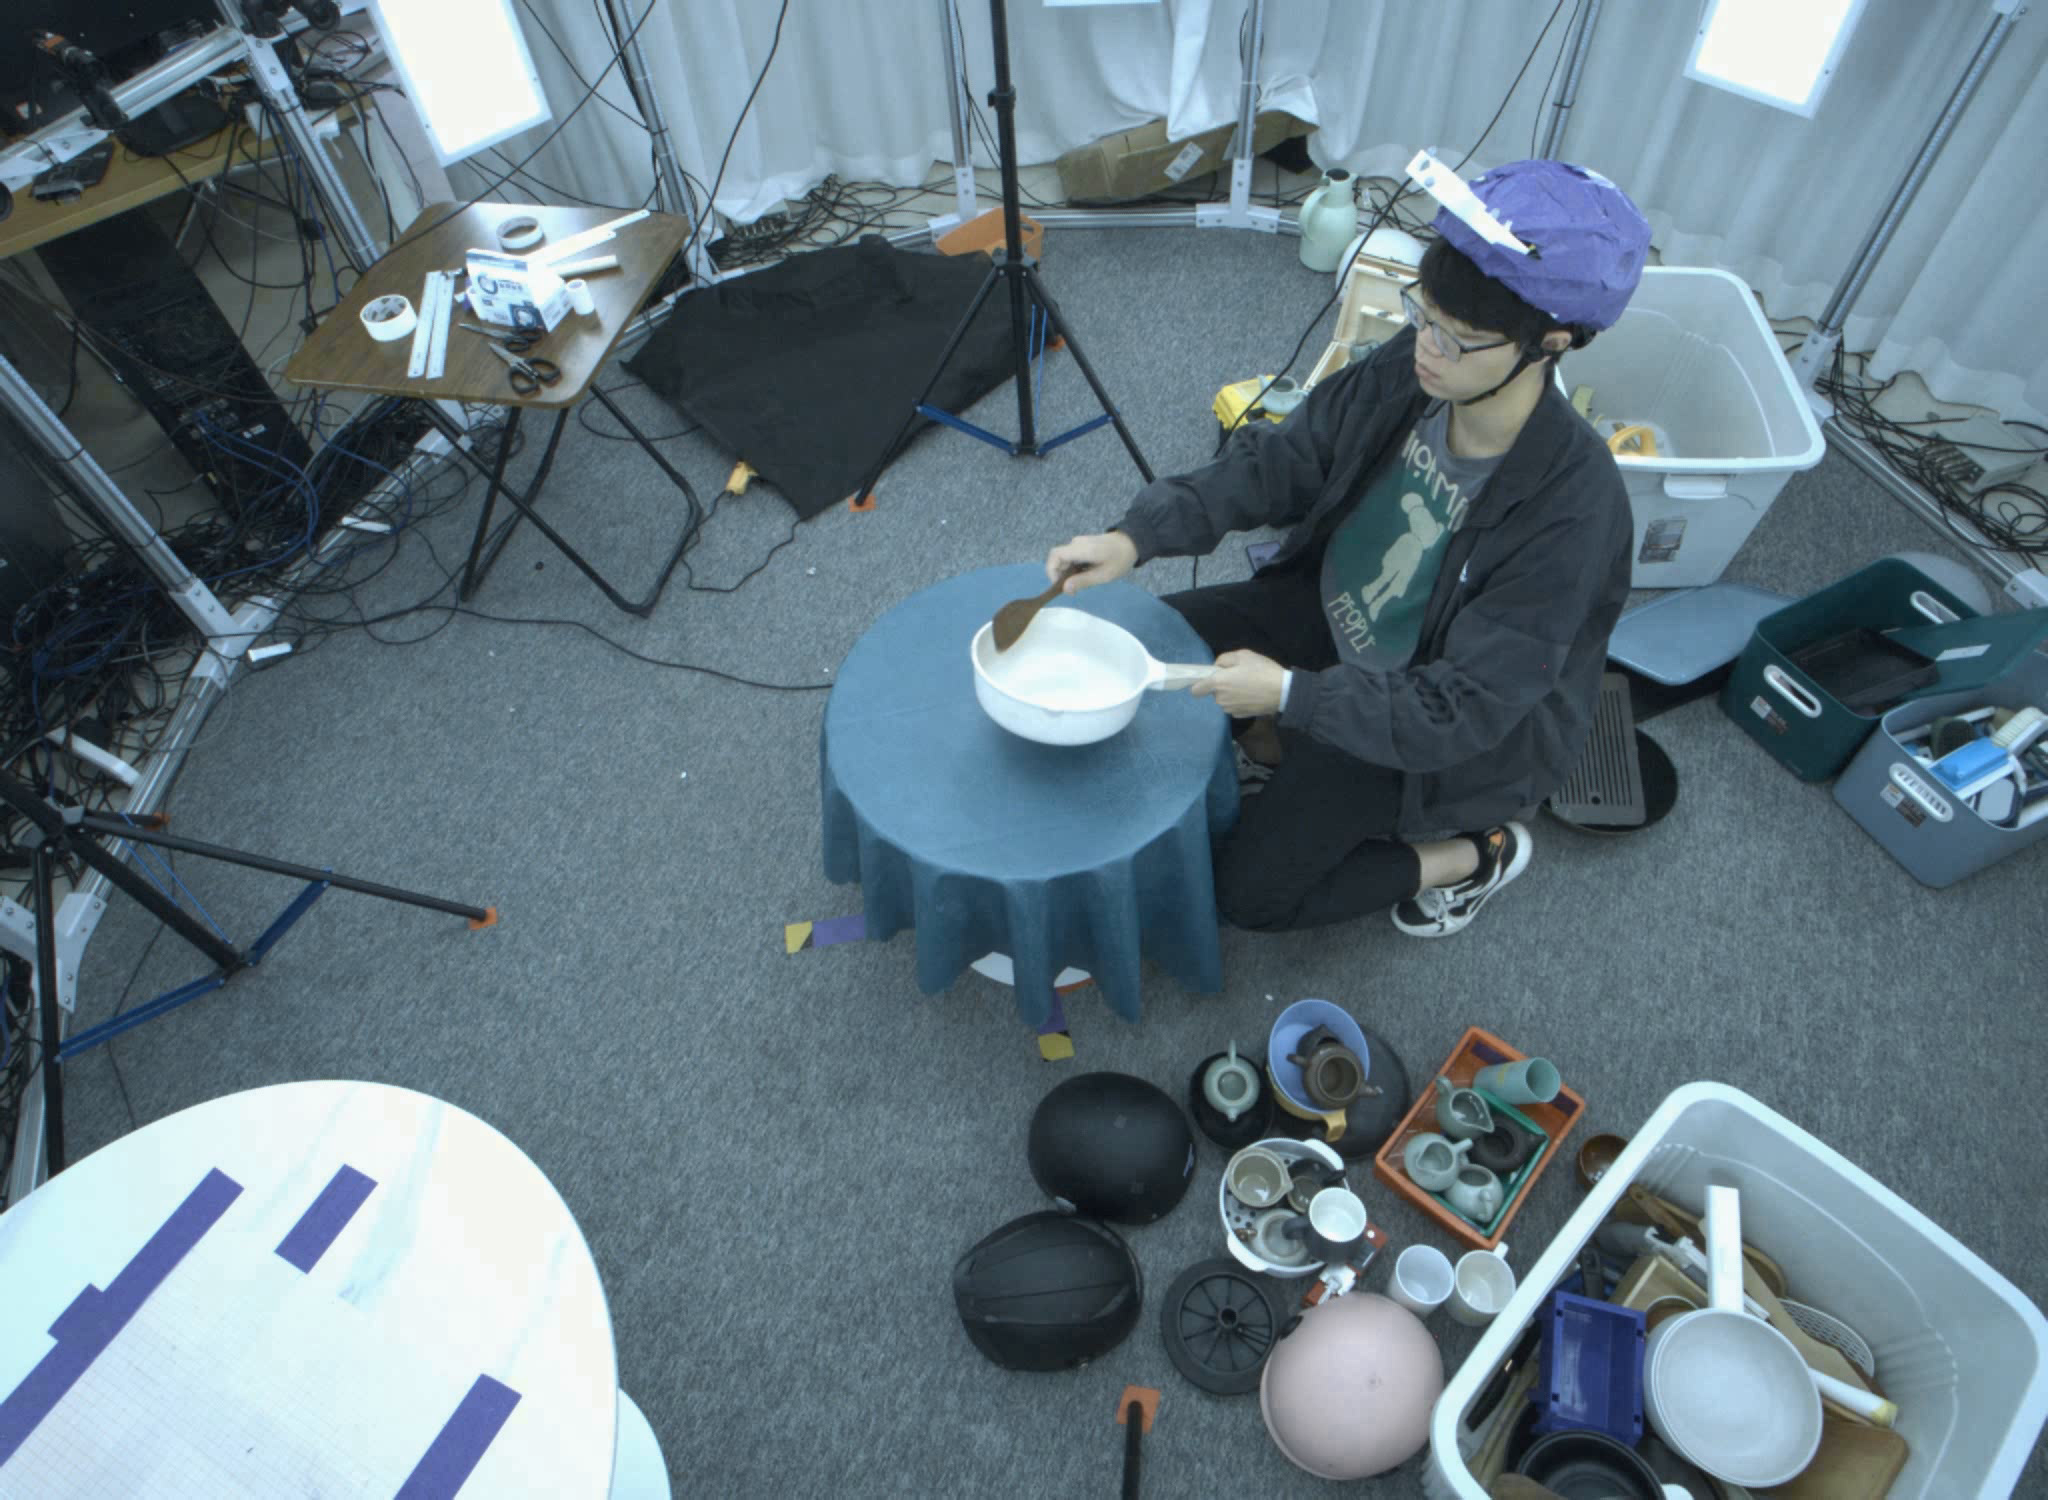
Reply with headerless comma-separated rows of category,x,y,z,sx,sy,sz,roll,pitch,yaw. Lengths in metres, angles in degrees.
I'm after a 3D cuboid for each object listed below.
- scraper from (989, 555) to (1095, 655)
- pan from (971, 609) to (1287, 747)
scraper,0.026,-0.213,1.723,0.010,0.077,0.213,33,59,32
pan,0.140,-0.089,1.711,0.435,0.102,0.261,8,37,-1
